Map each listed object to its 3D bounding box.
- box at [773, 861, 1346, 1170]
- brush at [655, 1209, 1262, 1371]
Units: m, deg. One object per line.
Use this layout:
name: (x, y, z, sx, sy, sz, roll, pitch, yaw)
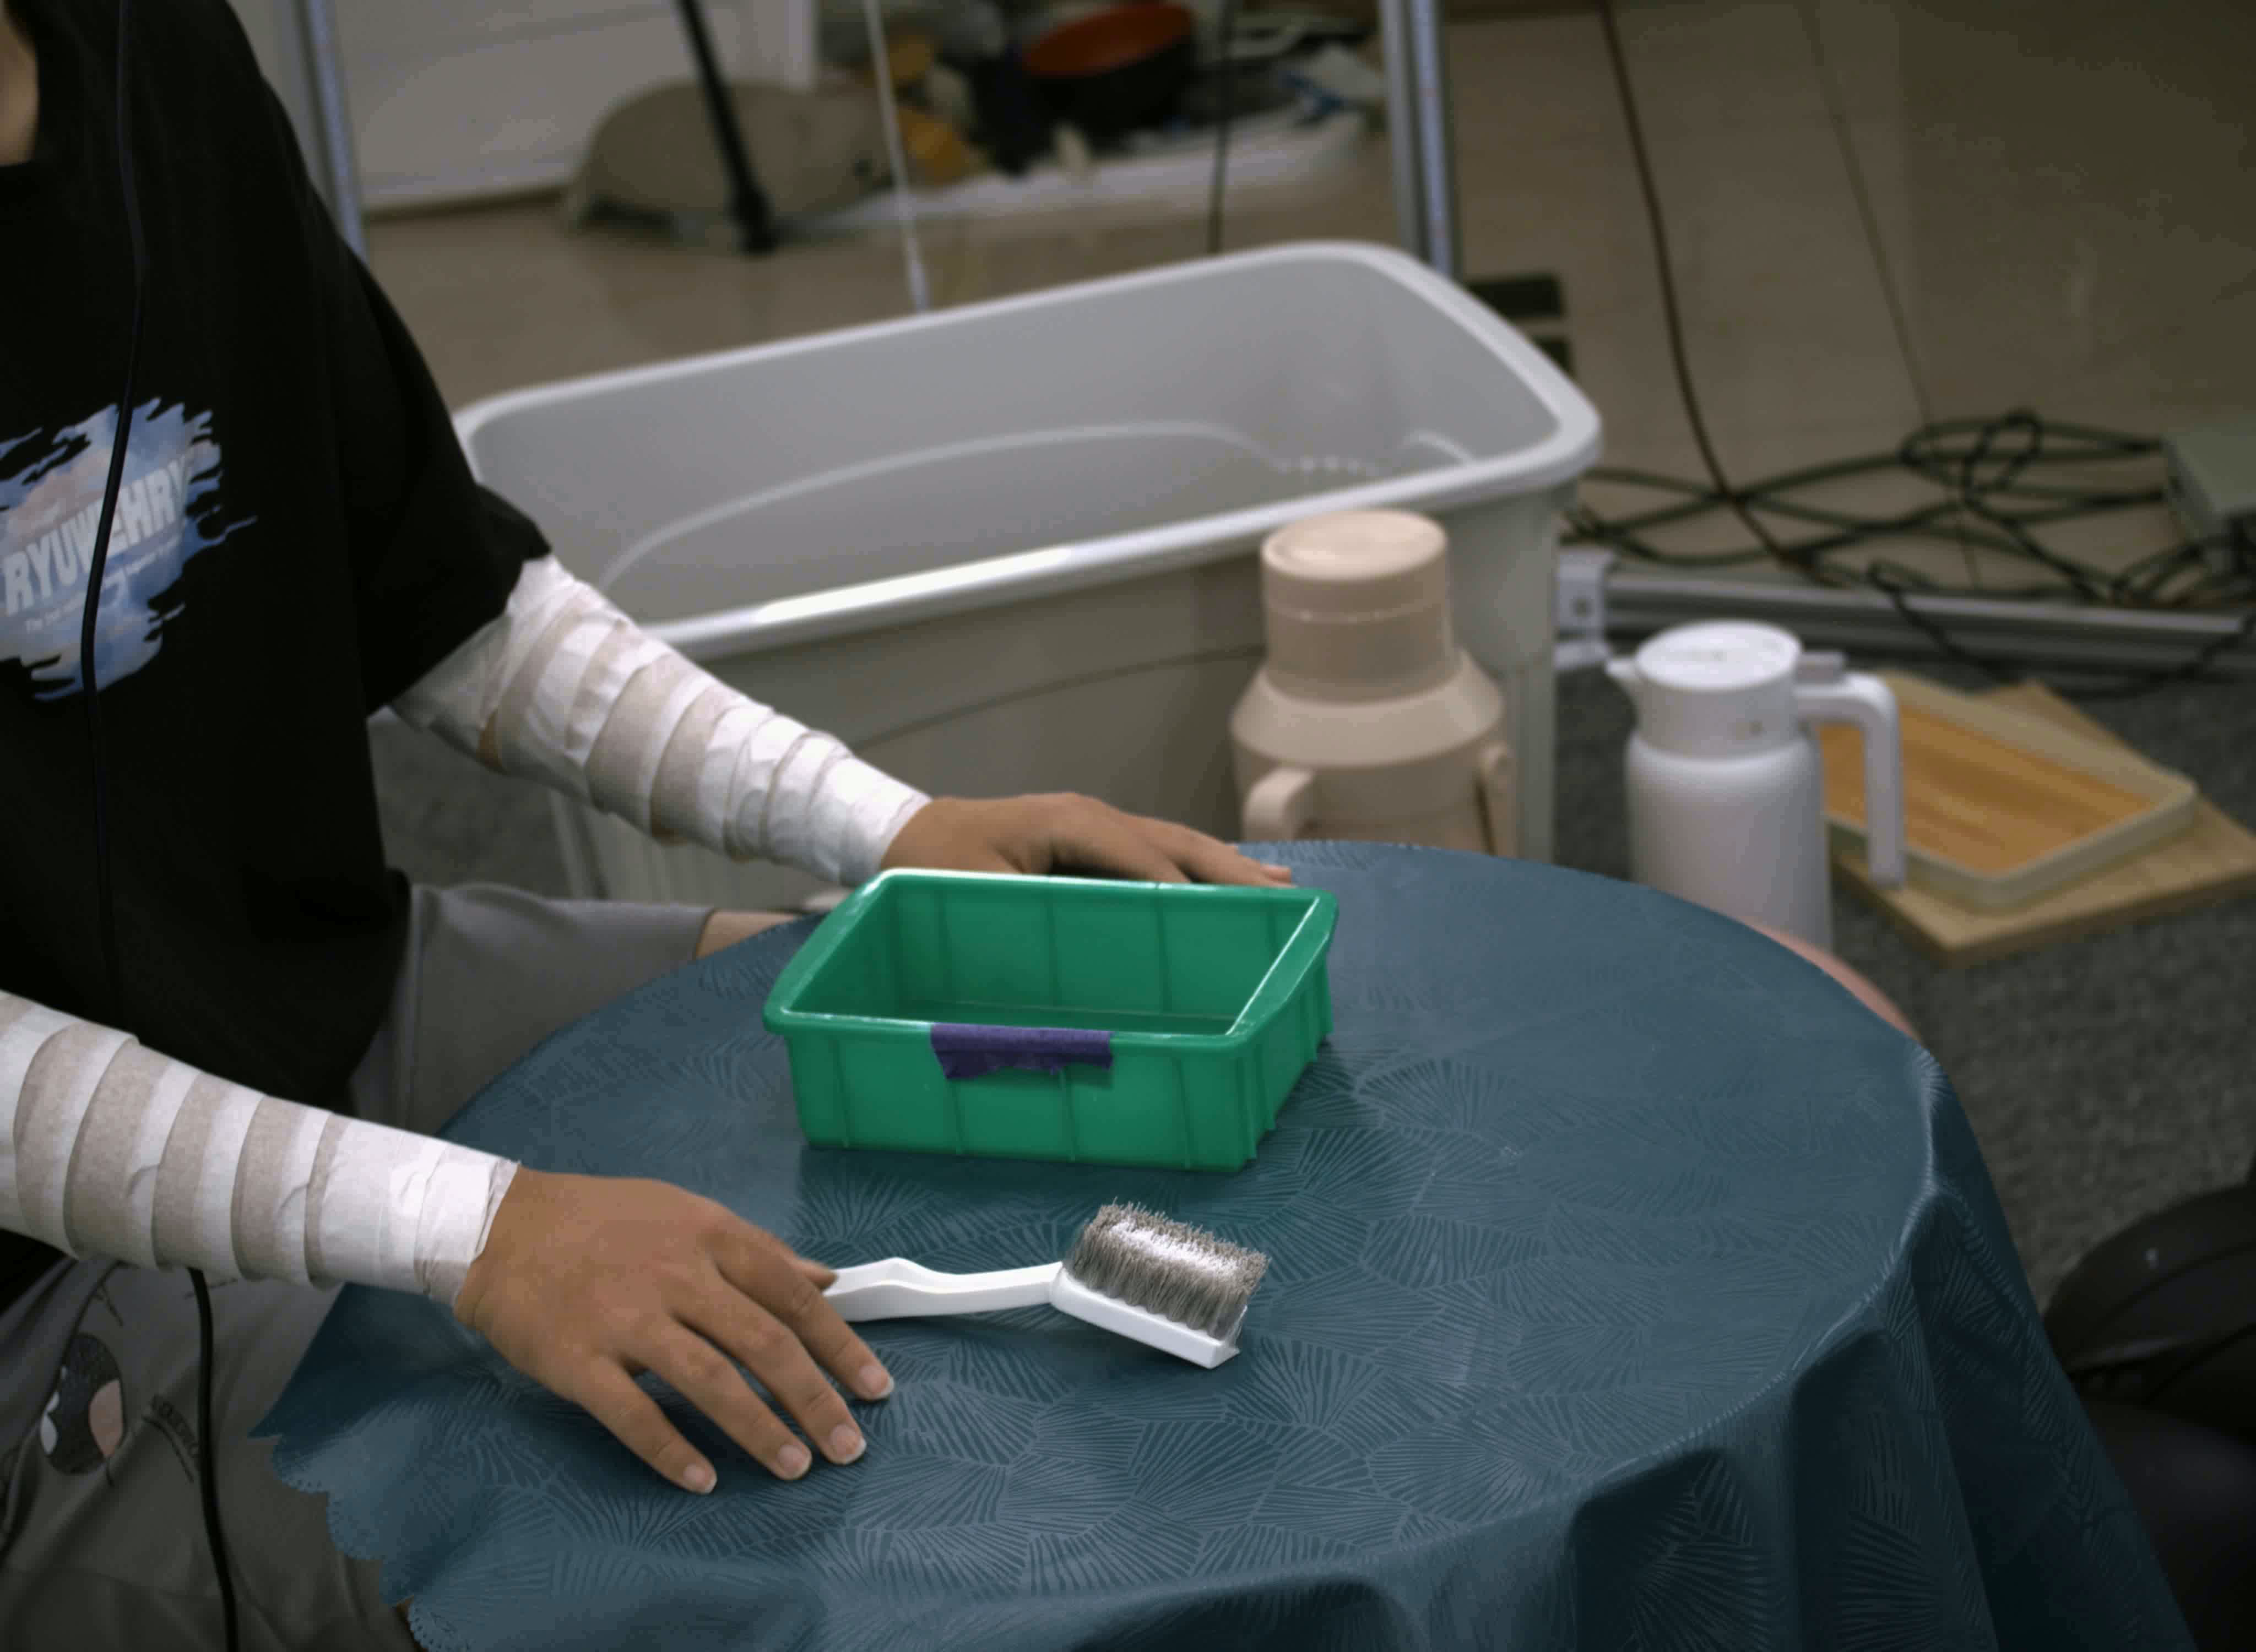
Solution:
box: (-0.023, 0.075, 2.217, 0.210, 0.066, 0.136, 3, 29, 17)
brush: (-0.066, 0.158, 2.064, 0.243, 0.051, 0.034, 5, 30, 24)
